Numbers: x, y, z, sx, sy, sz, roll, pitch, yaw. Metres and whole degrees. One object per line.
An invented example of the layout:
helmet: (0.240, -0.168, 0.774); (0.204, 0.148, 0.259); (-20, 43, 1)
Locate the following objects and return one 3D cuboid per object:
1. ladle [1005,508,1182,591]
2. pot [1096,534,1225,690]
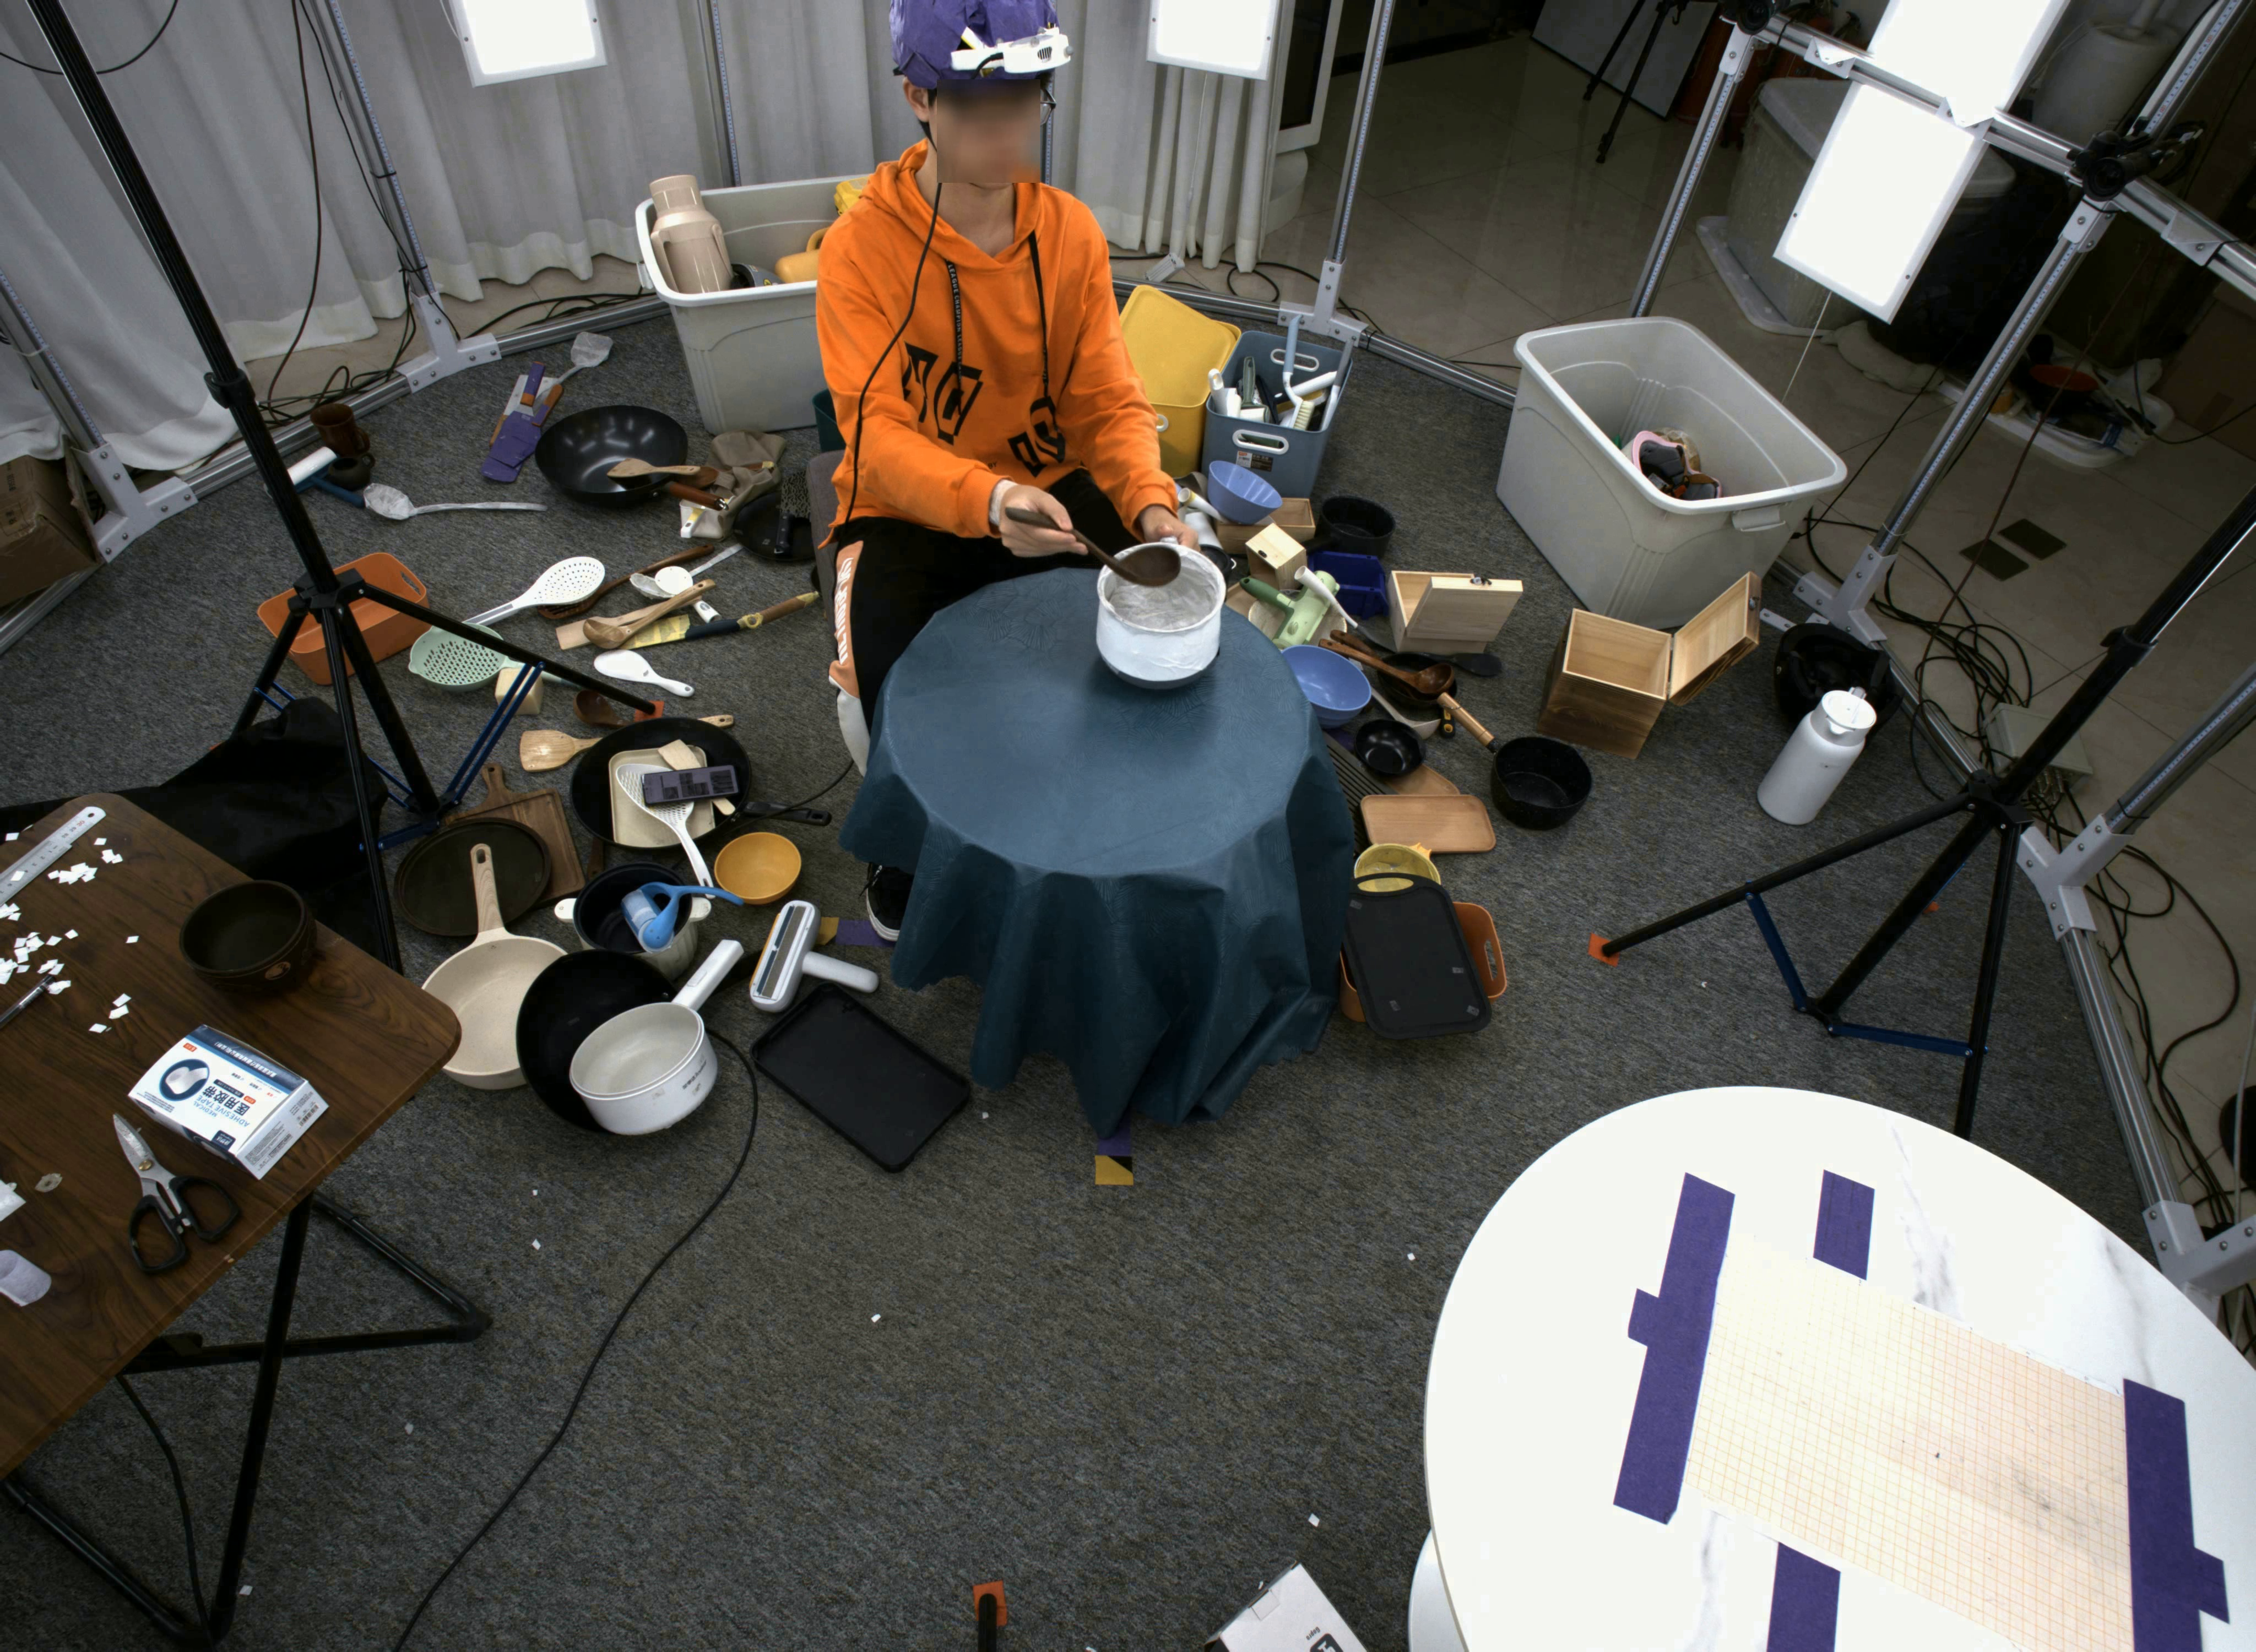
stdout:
ladle: (-0.036, -0.372, 1.658); (0.270, 0.070, 0.078); (20, 26, -45)
pot: (0.046, -0.313, 1.828); (0.179, 0.133, 0.239); (5, 52, 2)
